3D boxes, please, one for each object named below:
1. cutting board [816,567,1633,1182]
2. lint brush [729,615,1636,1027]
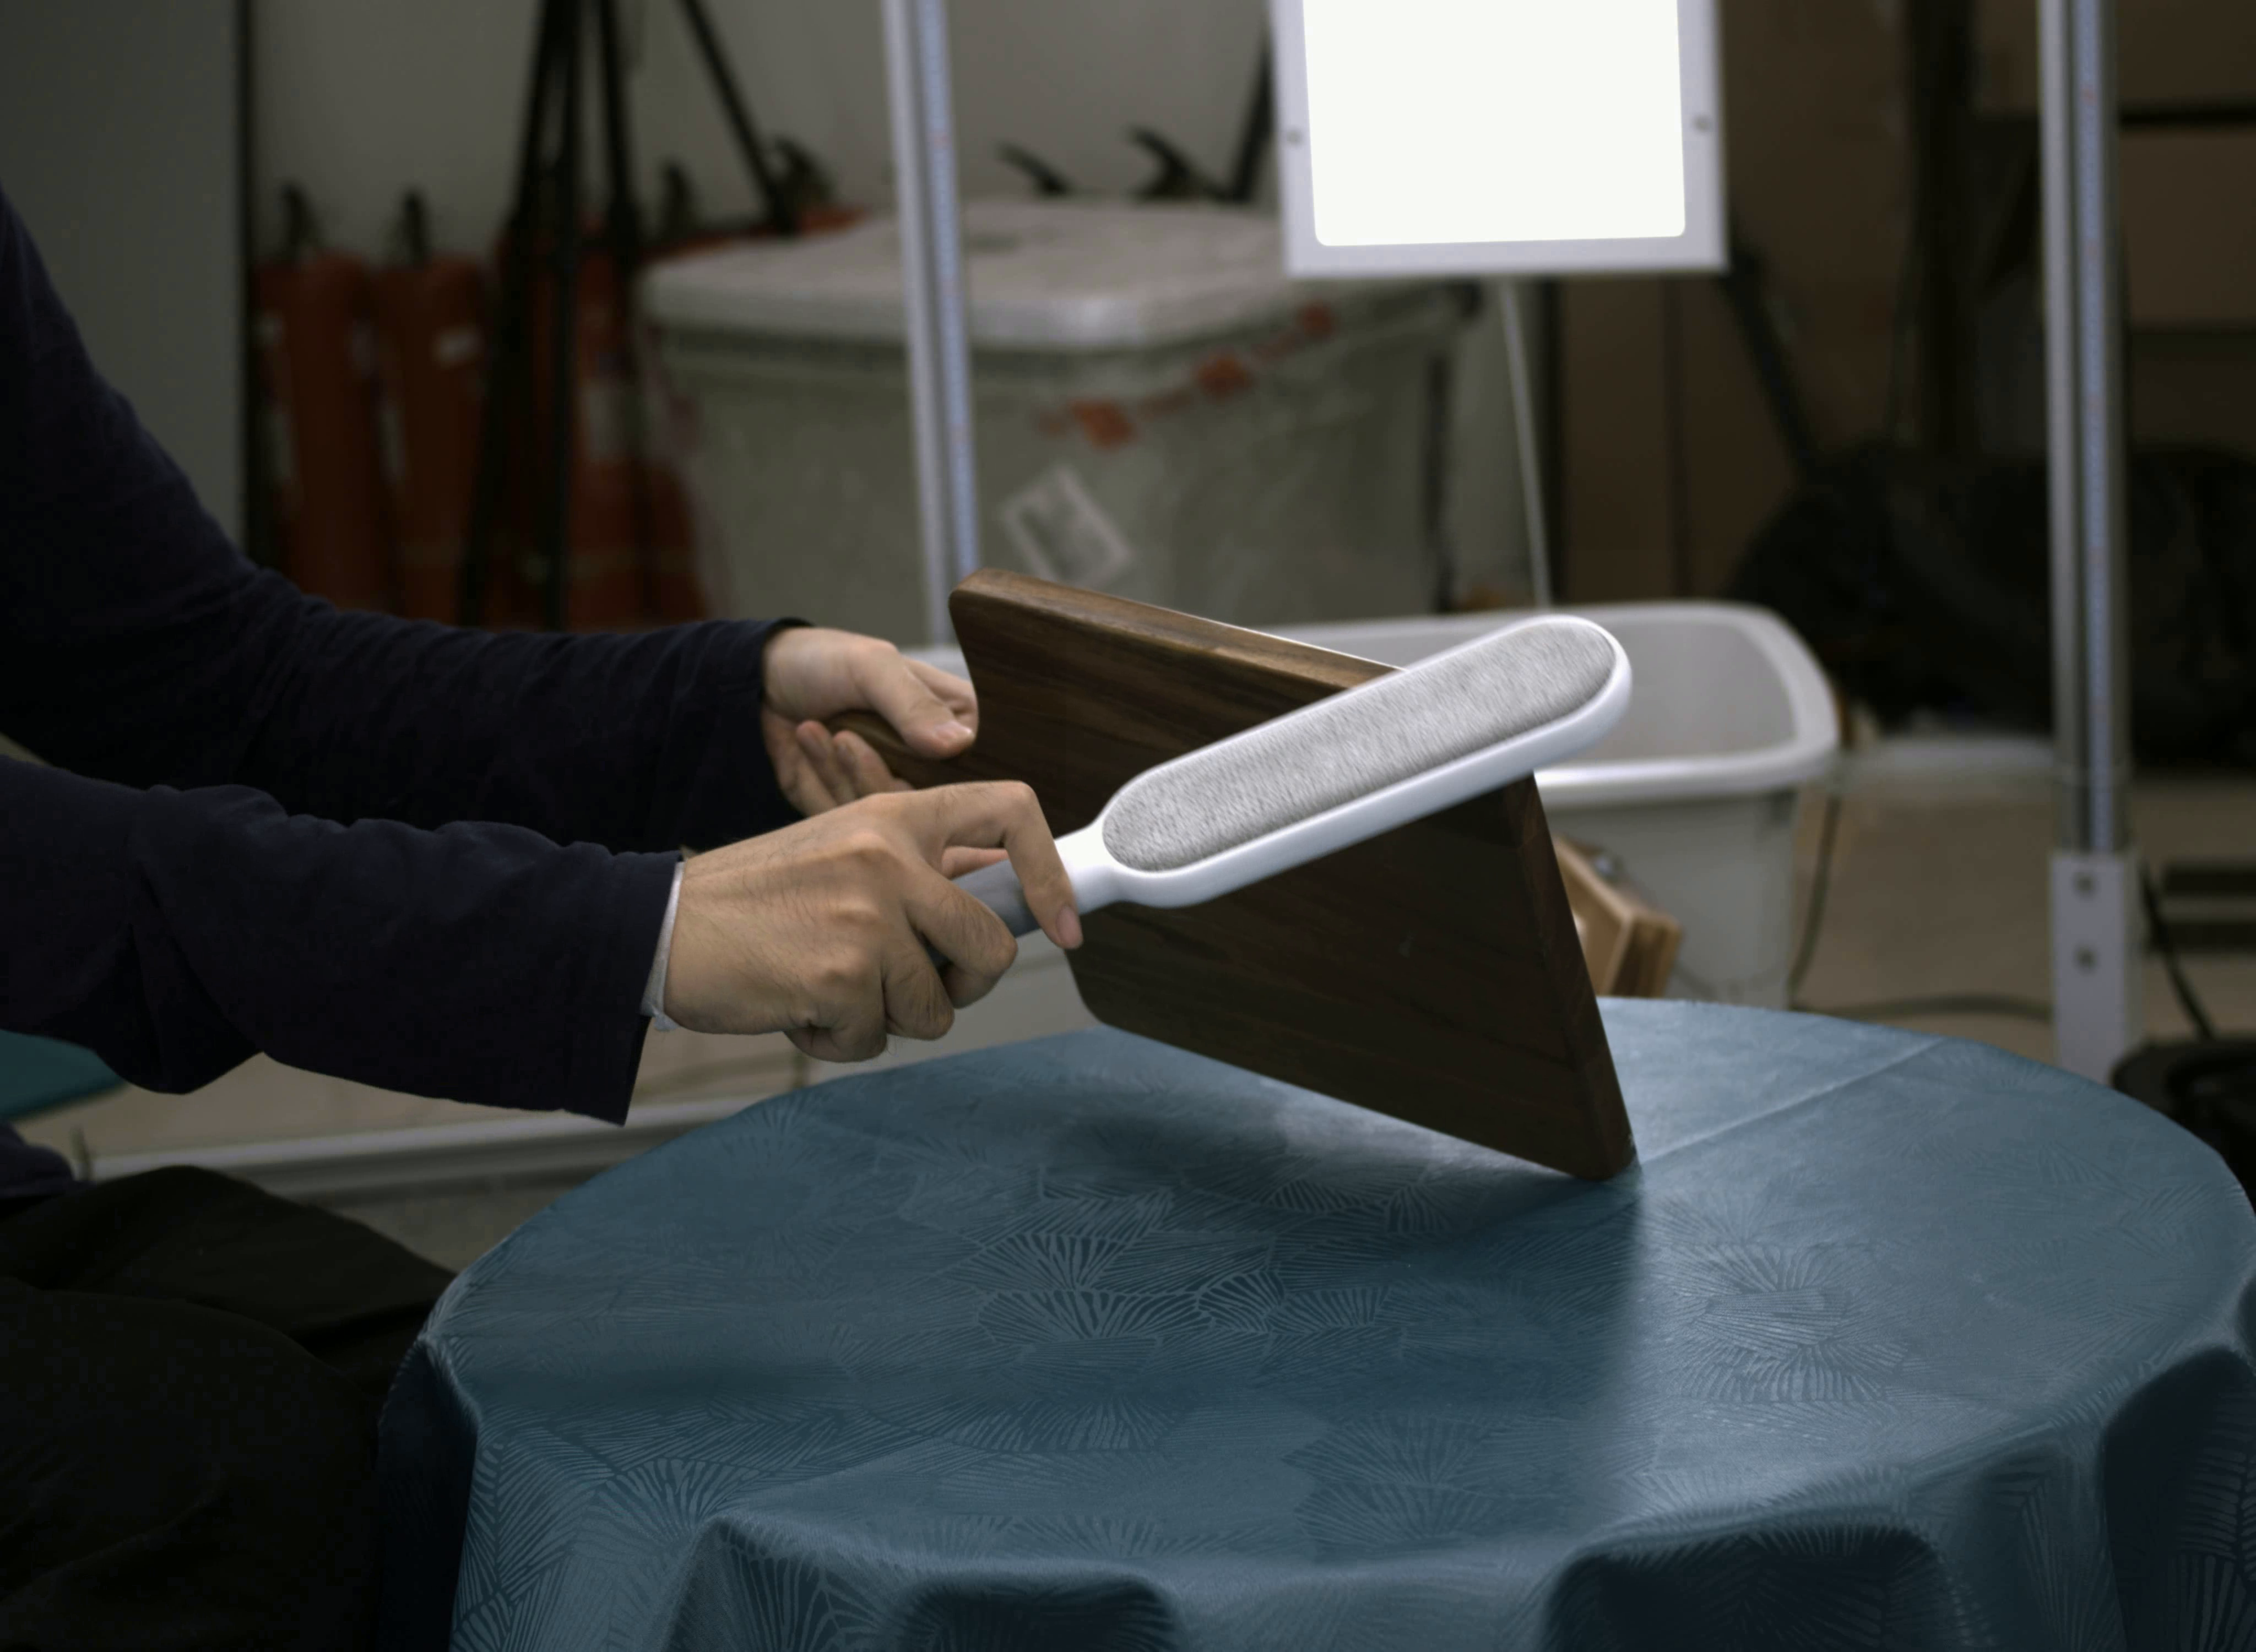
[{"bbox_3d":[0.019,0.005,1.935,0.359,0.200,0.023,15,46,43],"label":"cutting board"},{"bbox_3d":[0.017,0.001,1.755,0.309,0.021,0.060,-21,45,5],"label":"lint brush"}]
